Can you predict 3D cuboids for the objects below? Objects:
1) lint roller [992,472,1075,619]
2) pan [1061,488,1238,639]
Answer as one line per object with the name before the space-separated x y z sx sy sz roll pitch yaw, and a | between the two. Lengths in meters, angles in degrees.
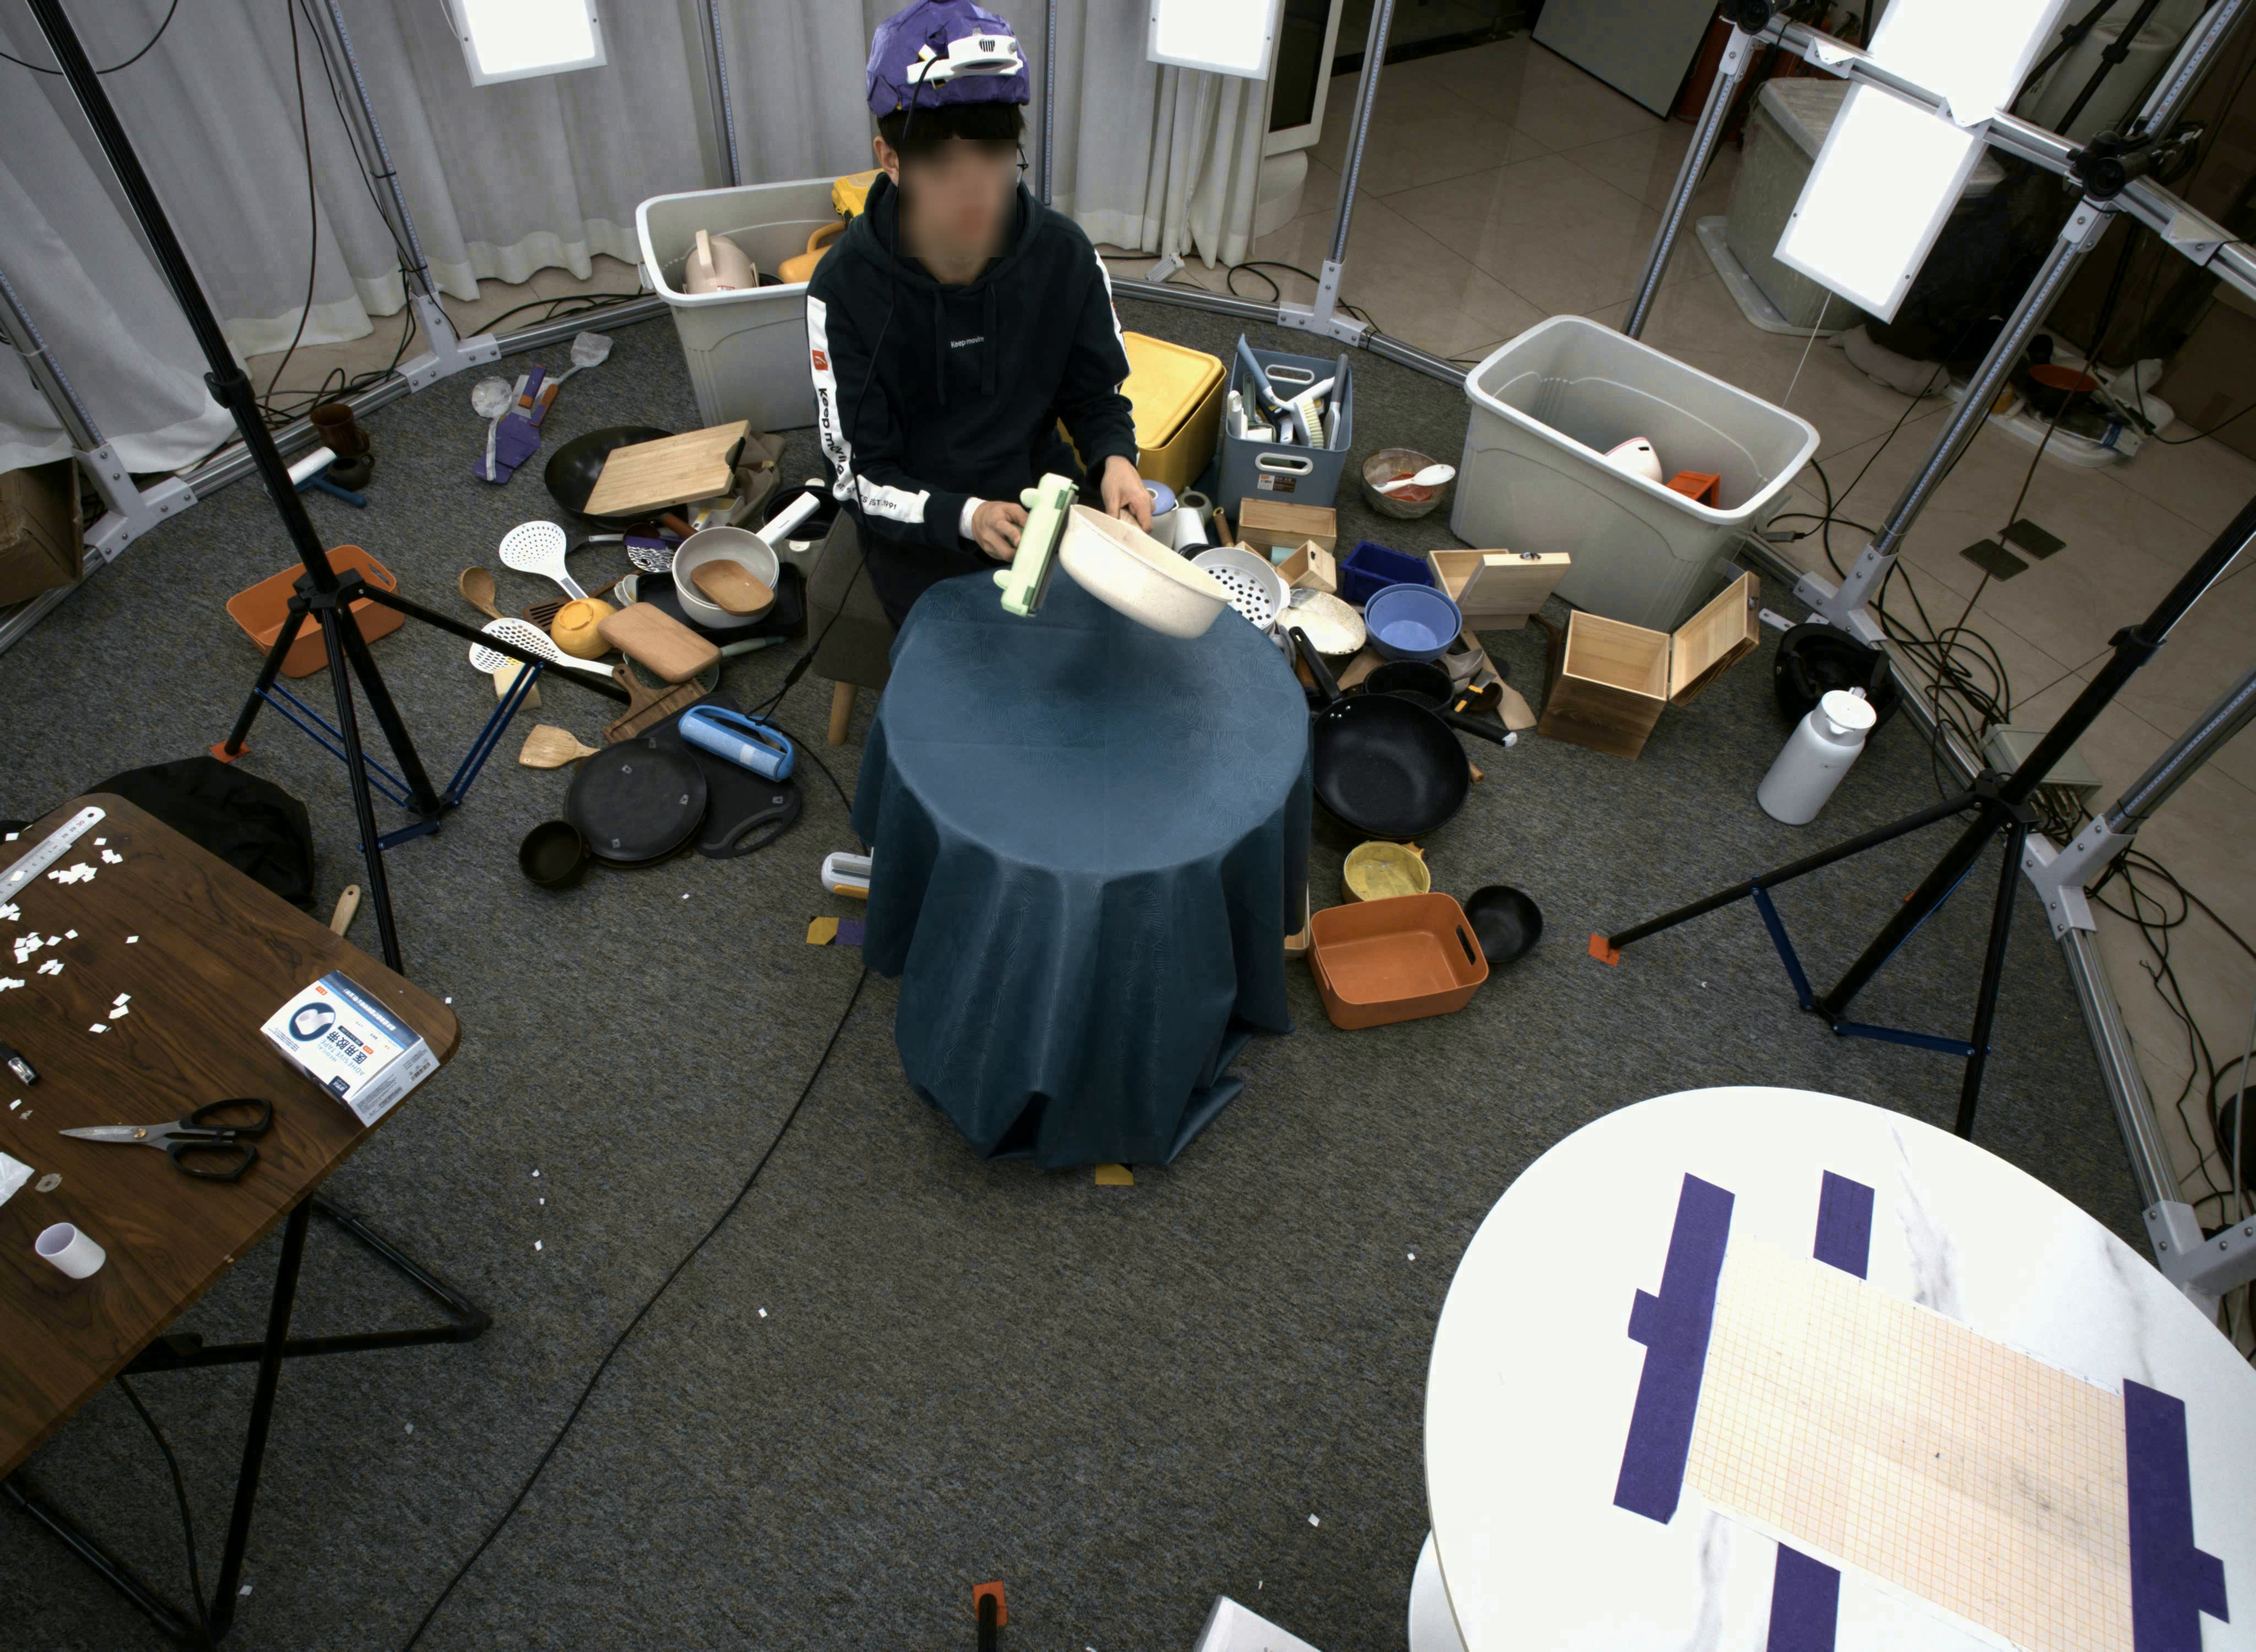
lint roller | -0.159 -0.403 1.806 0.081 0.197 0.186 11 12 -38
pan | 0.005 -0.387 1.842 0.261 0.101 0.444 20 20 -21
